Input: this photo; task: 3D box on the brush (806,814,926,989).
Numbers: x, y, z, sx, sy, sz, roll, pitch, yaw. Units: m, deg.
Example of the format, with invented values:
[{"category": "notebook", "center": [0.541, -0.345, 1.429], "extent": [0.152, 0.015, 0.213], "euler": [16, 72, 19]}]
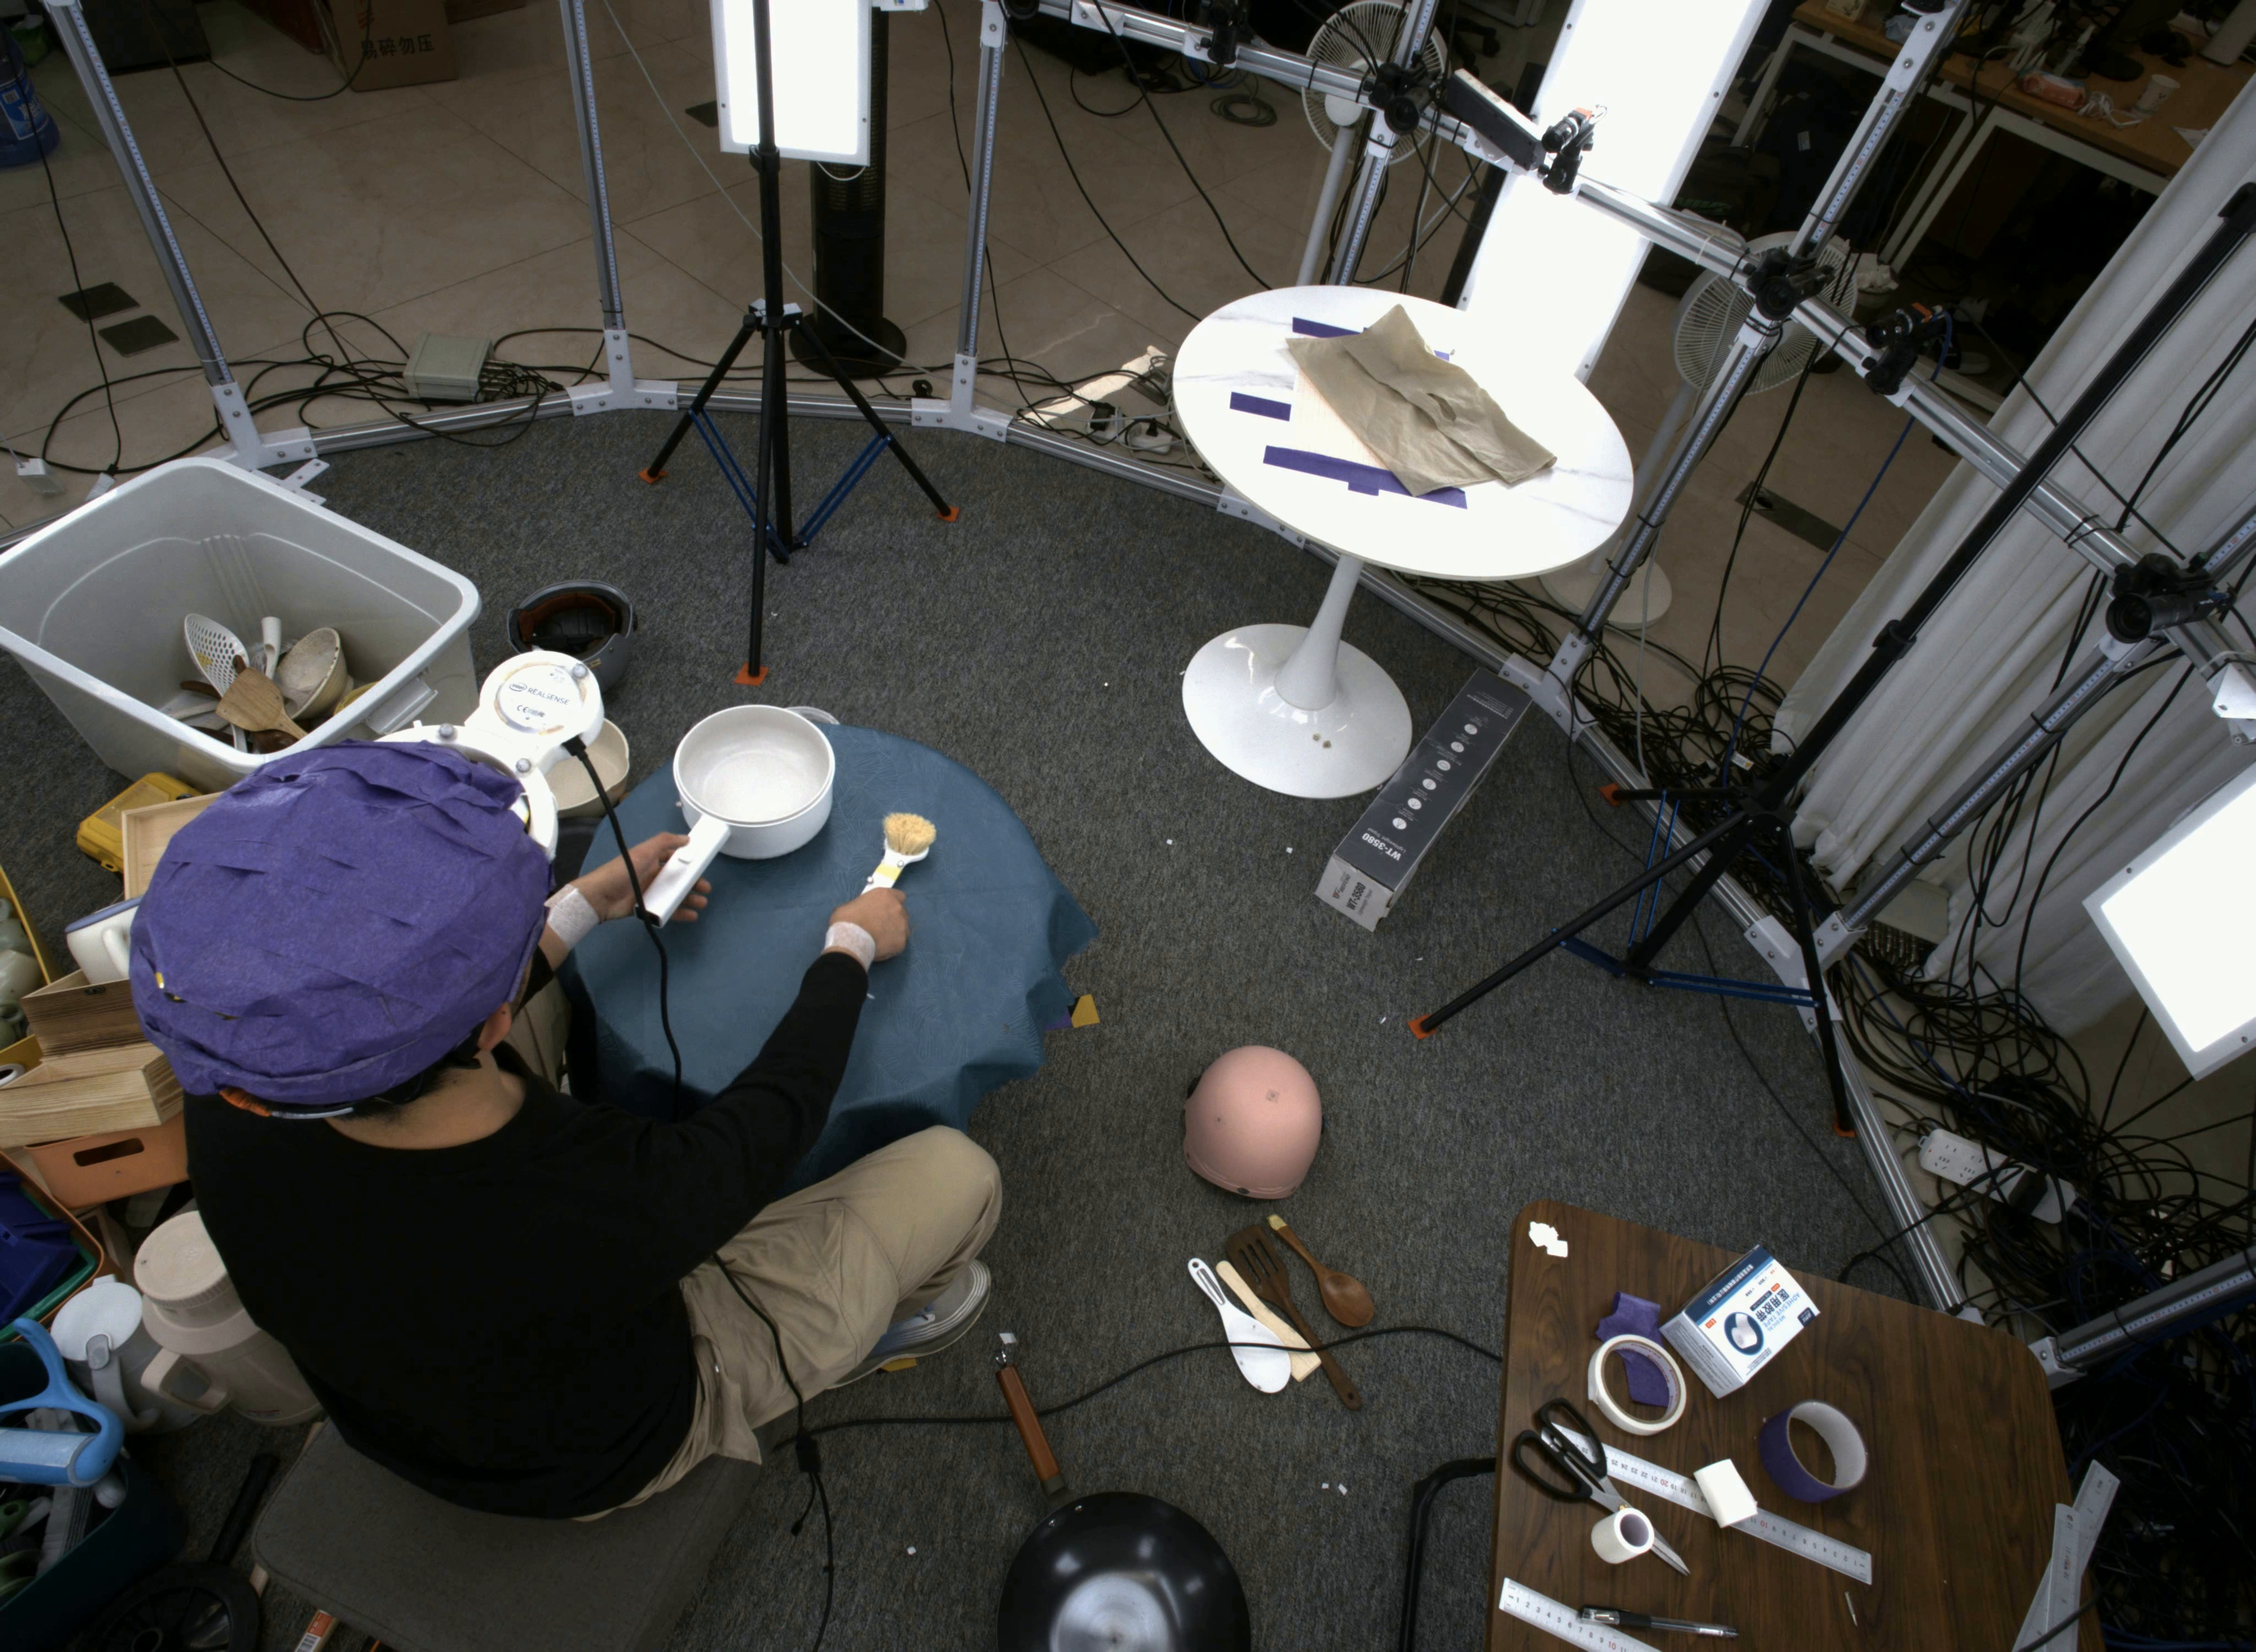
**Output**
[{"category": "brush", "center": [-0.334, 0.086, 1.643], "extent": [0.067, 0.057, 0.264], "euler": [20, 52, 9]}]

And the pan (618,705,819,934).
[{"category": "pan", "center": [-0.525, 0.006, 1.626], "extent": [0.199, 0.104, 0.351], "euler": [22, 52, 2]}]
